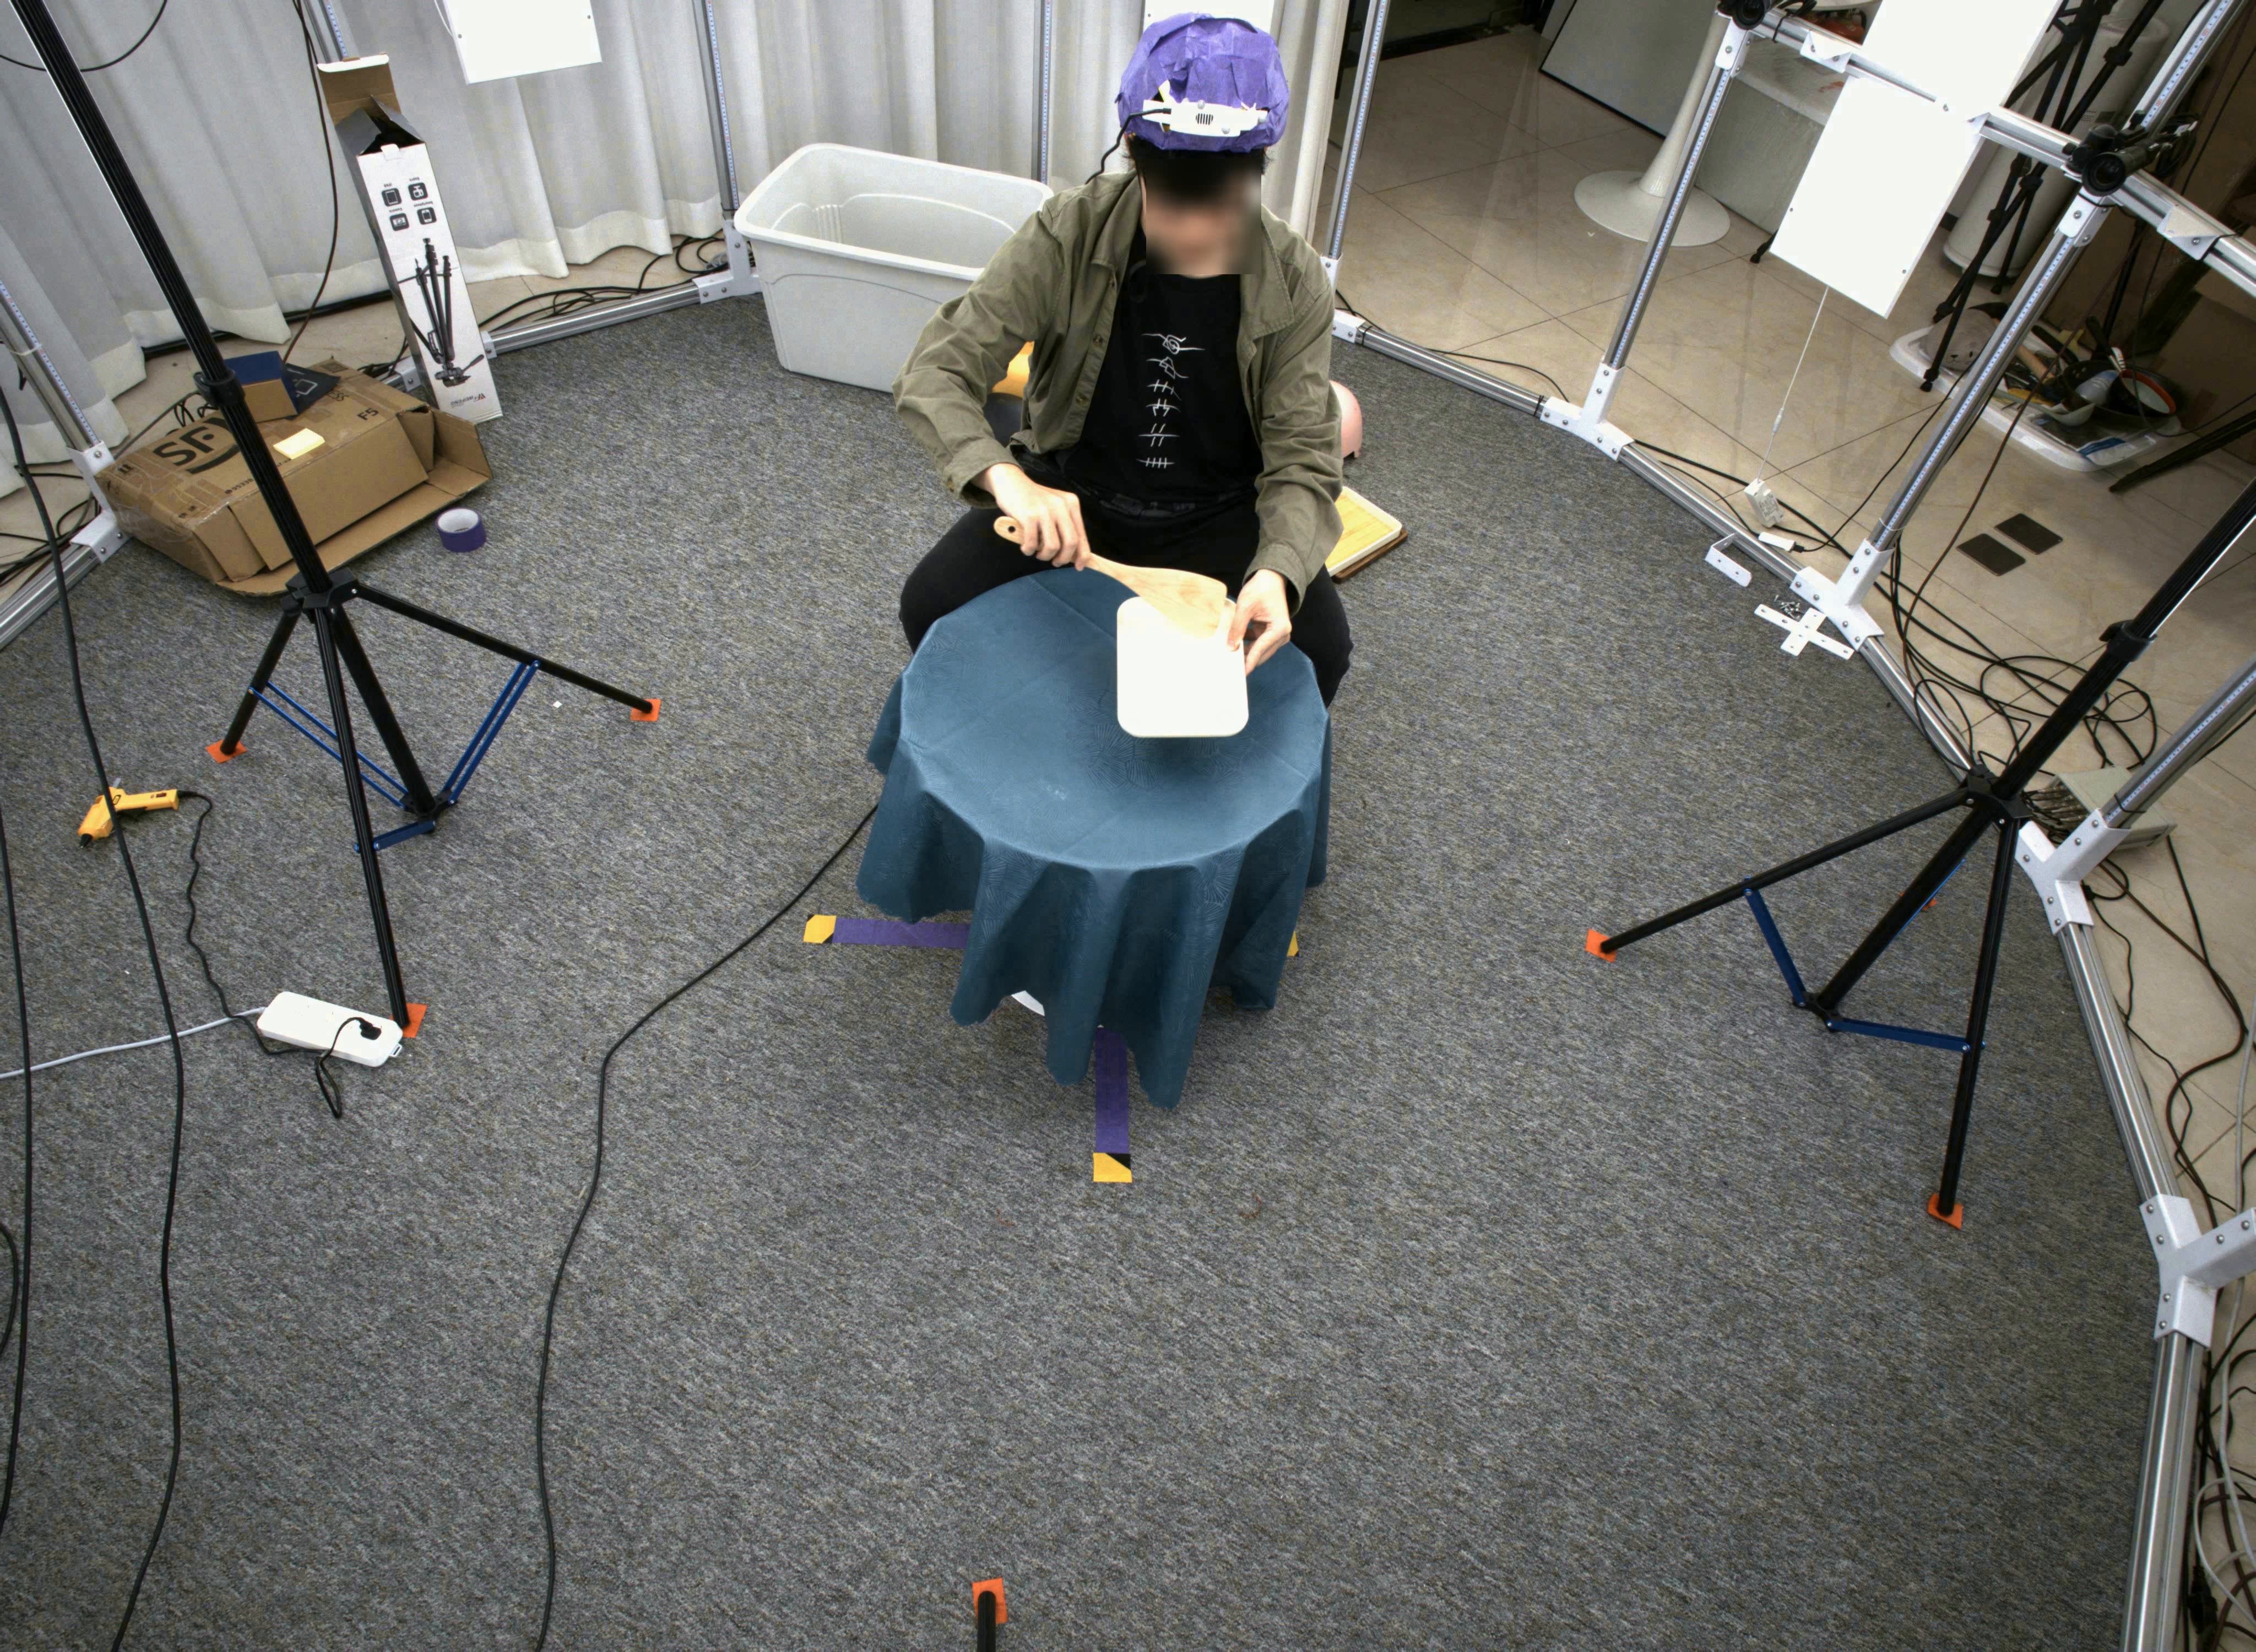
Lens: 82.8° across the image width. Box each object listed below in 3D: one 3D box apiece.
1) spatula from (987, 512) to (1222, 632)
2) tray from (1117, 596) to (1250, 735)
[{"bbox_3d":[-0.028,-0.341,1.678,0.325,0.078,0.017,18,29,-14],"label":"spatula"},{"bbox_3d":[0.071,-0.215,1.710,0.171,0.017,0.245,0,55,-1],"label":"tray"}]
